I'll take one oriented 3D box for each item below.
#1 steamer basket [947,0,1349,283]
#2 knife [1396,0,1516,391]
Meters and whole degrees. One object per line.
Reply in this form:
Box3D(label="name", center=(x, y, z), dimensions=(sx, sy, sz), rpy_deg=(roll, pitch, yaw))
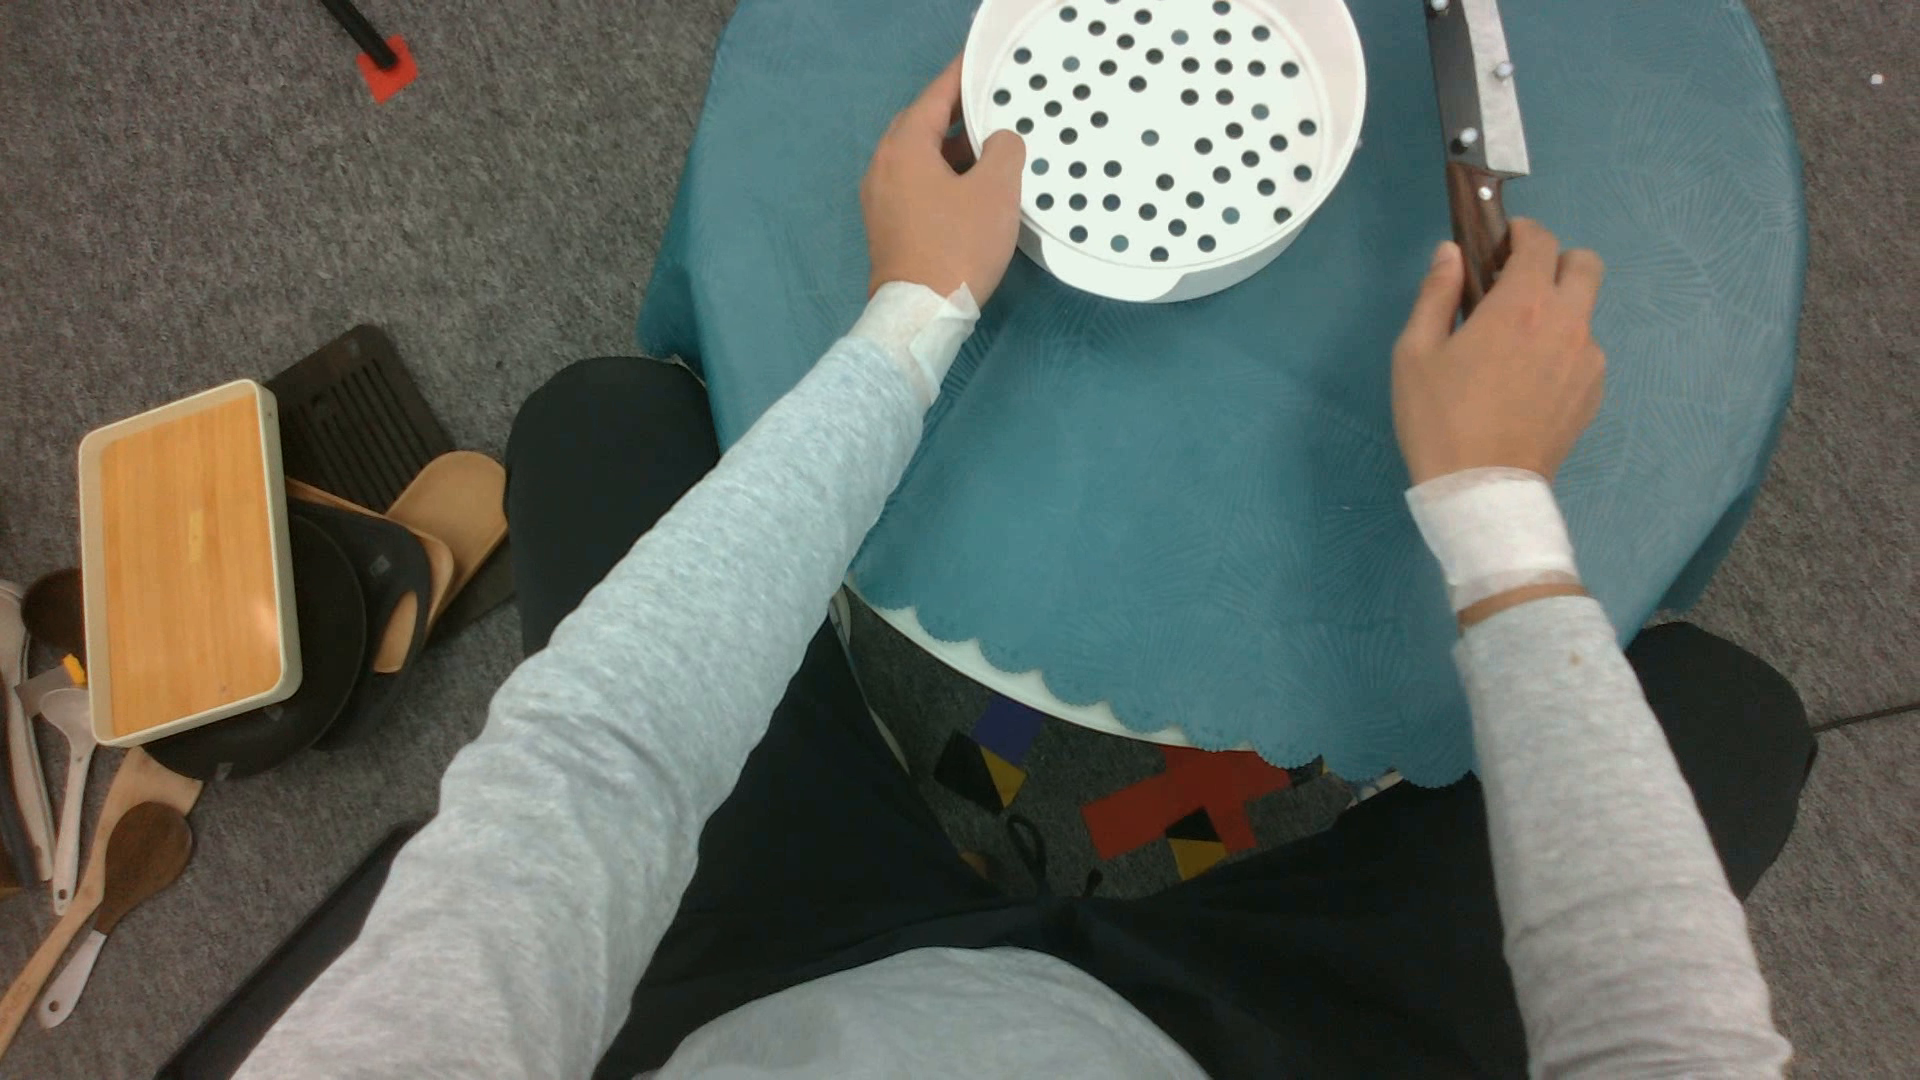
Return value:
Box3D(label="steamer basket", center=(0.095, -0.234, 0.722), dimensions=(0.202, 0.069, 0.231), rpy_deg=(15, 81, 5))
Box3D(label="knife", center=(0.249, -0.210, 0.695), dimensions=(0.050, 0.020, 0.290), rpy_deg=(3, 73, -12))
